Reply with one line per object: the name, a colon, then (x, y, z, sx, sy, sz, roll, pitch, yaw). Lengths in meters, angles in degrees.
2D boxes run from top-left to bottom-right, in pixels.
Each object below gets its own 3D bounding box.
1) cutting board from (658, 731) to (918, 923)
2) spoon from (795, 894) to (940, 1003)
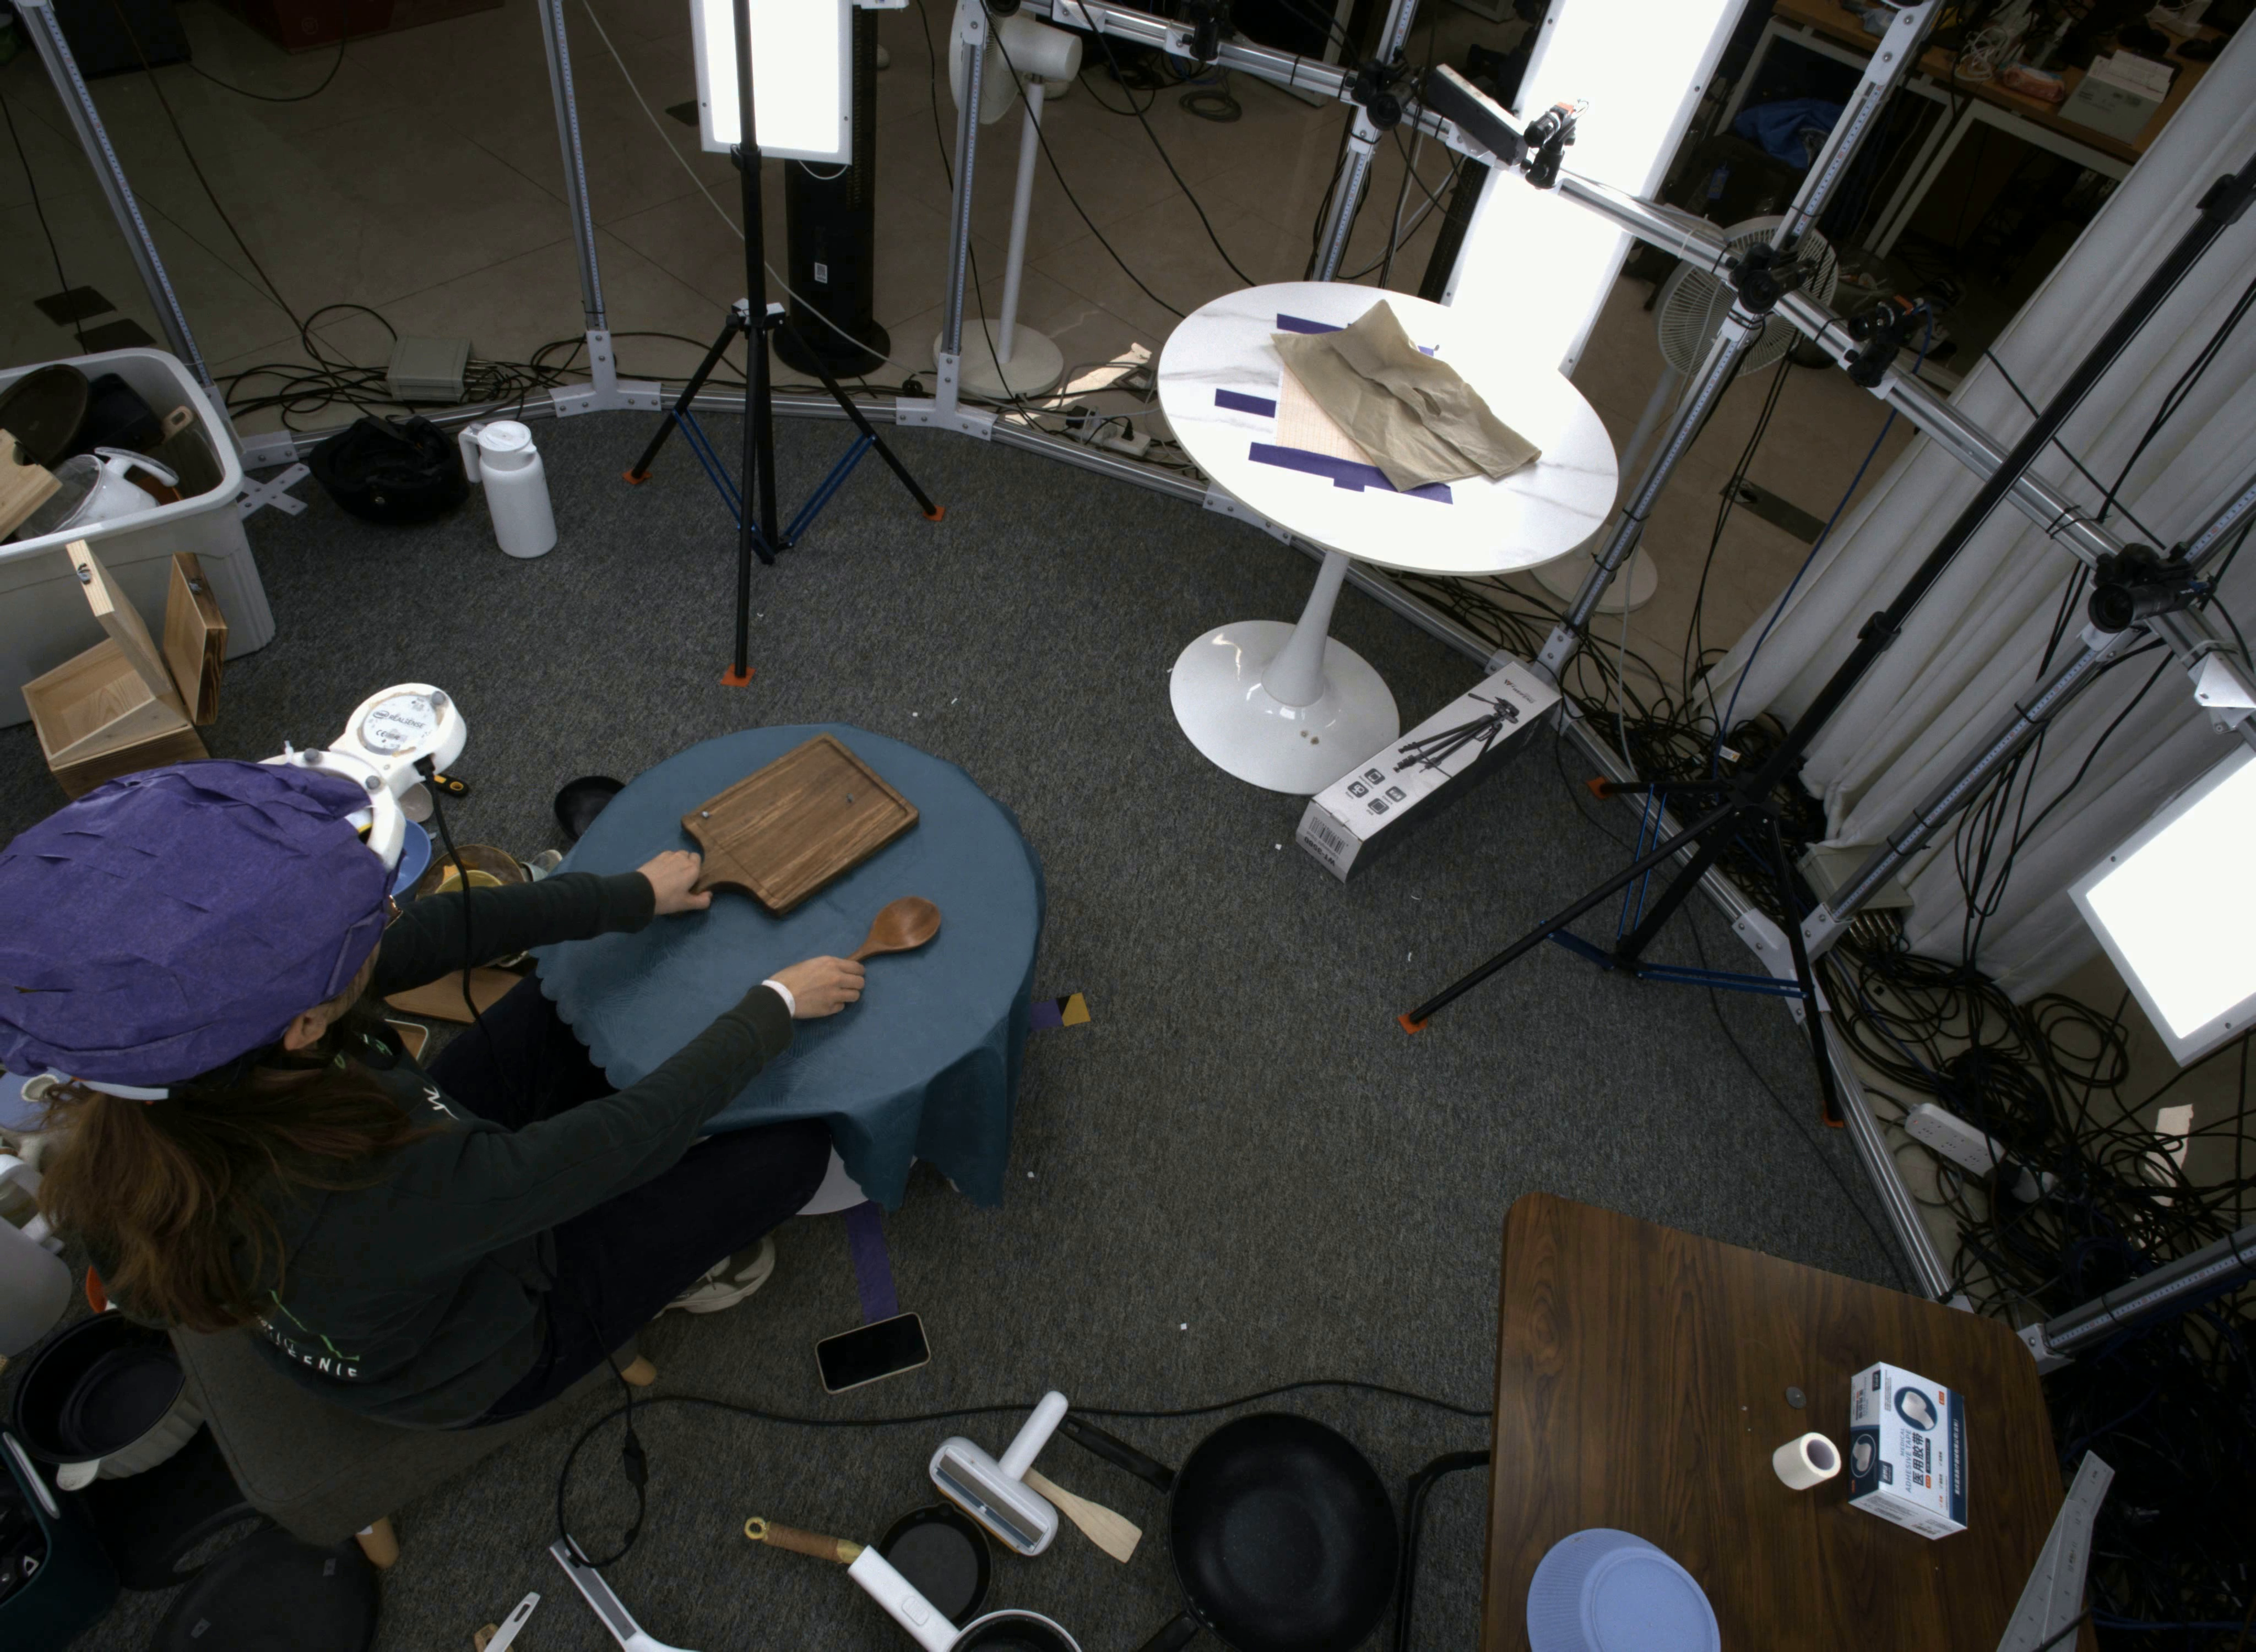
cutting board: (-0.465, 0.016, 1.690, 0.197, 0.023, 0.353, 41, 53, 15)
spoon: (-0.327, 0.154, 1.628, 0.074, 0.017, 0.216, 44, 55, 16)
